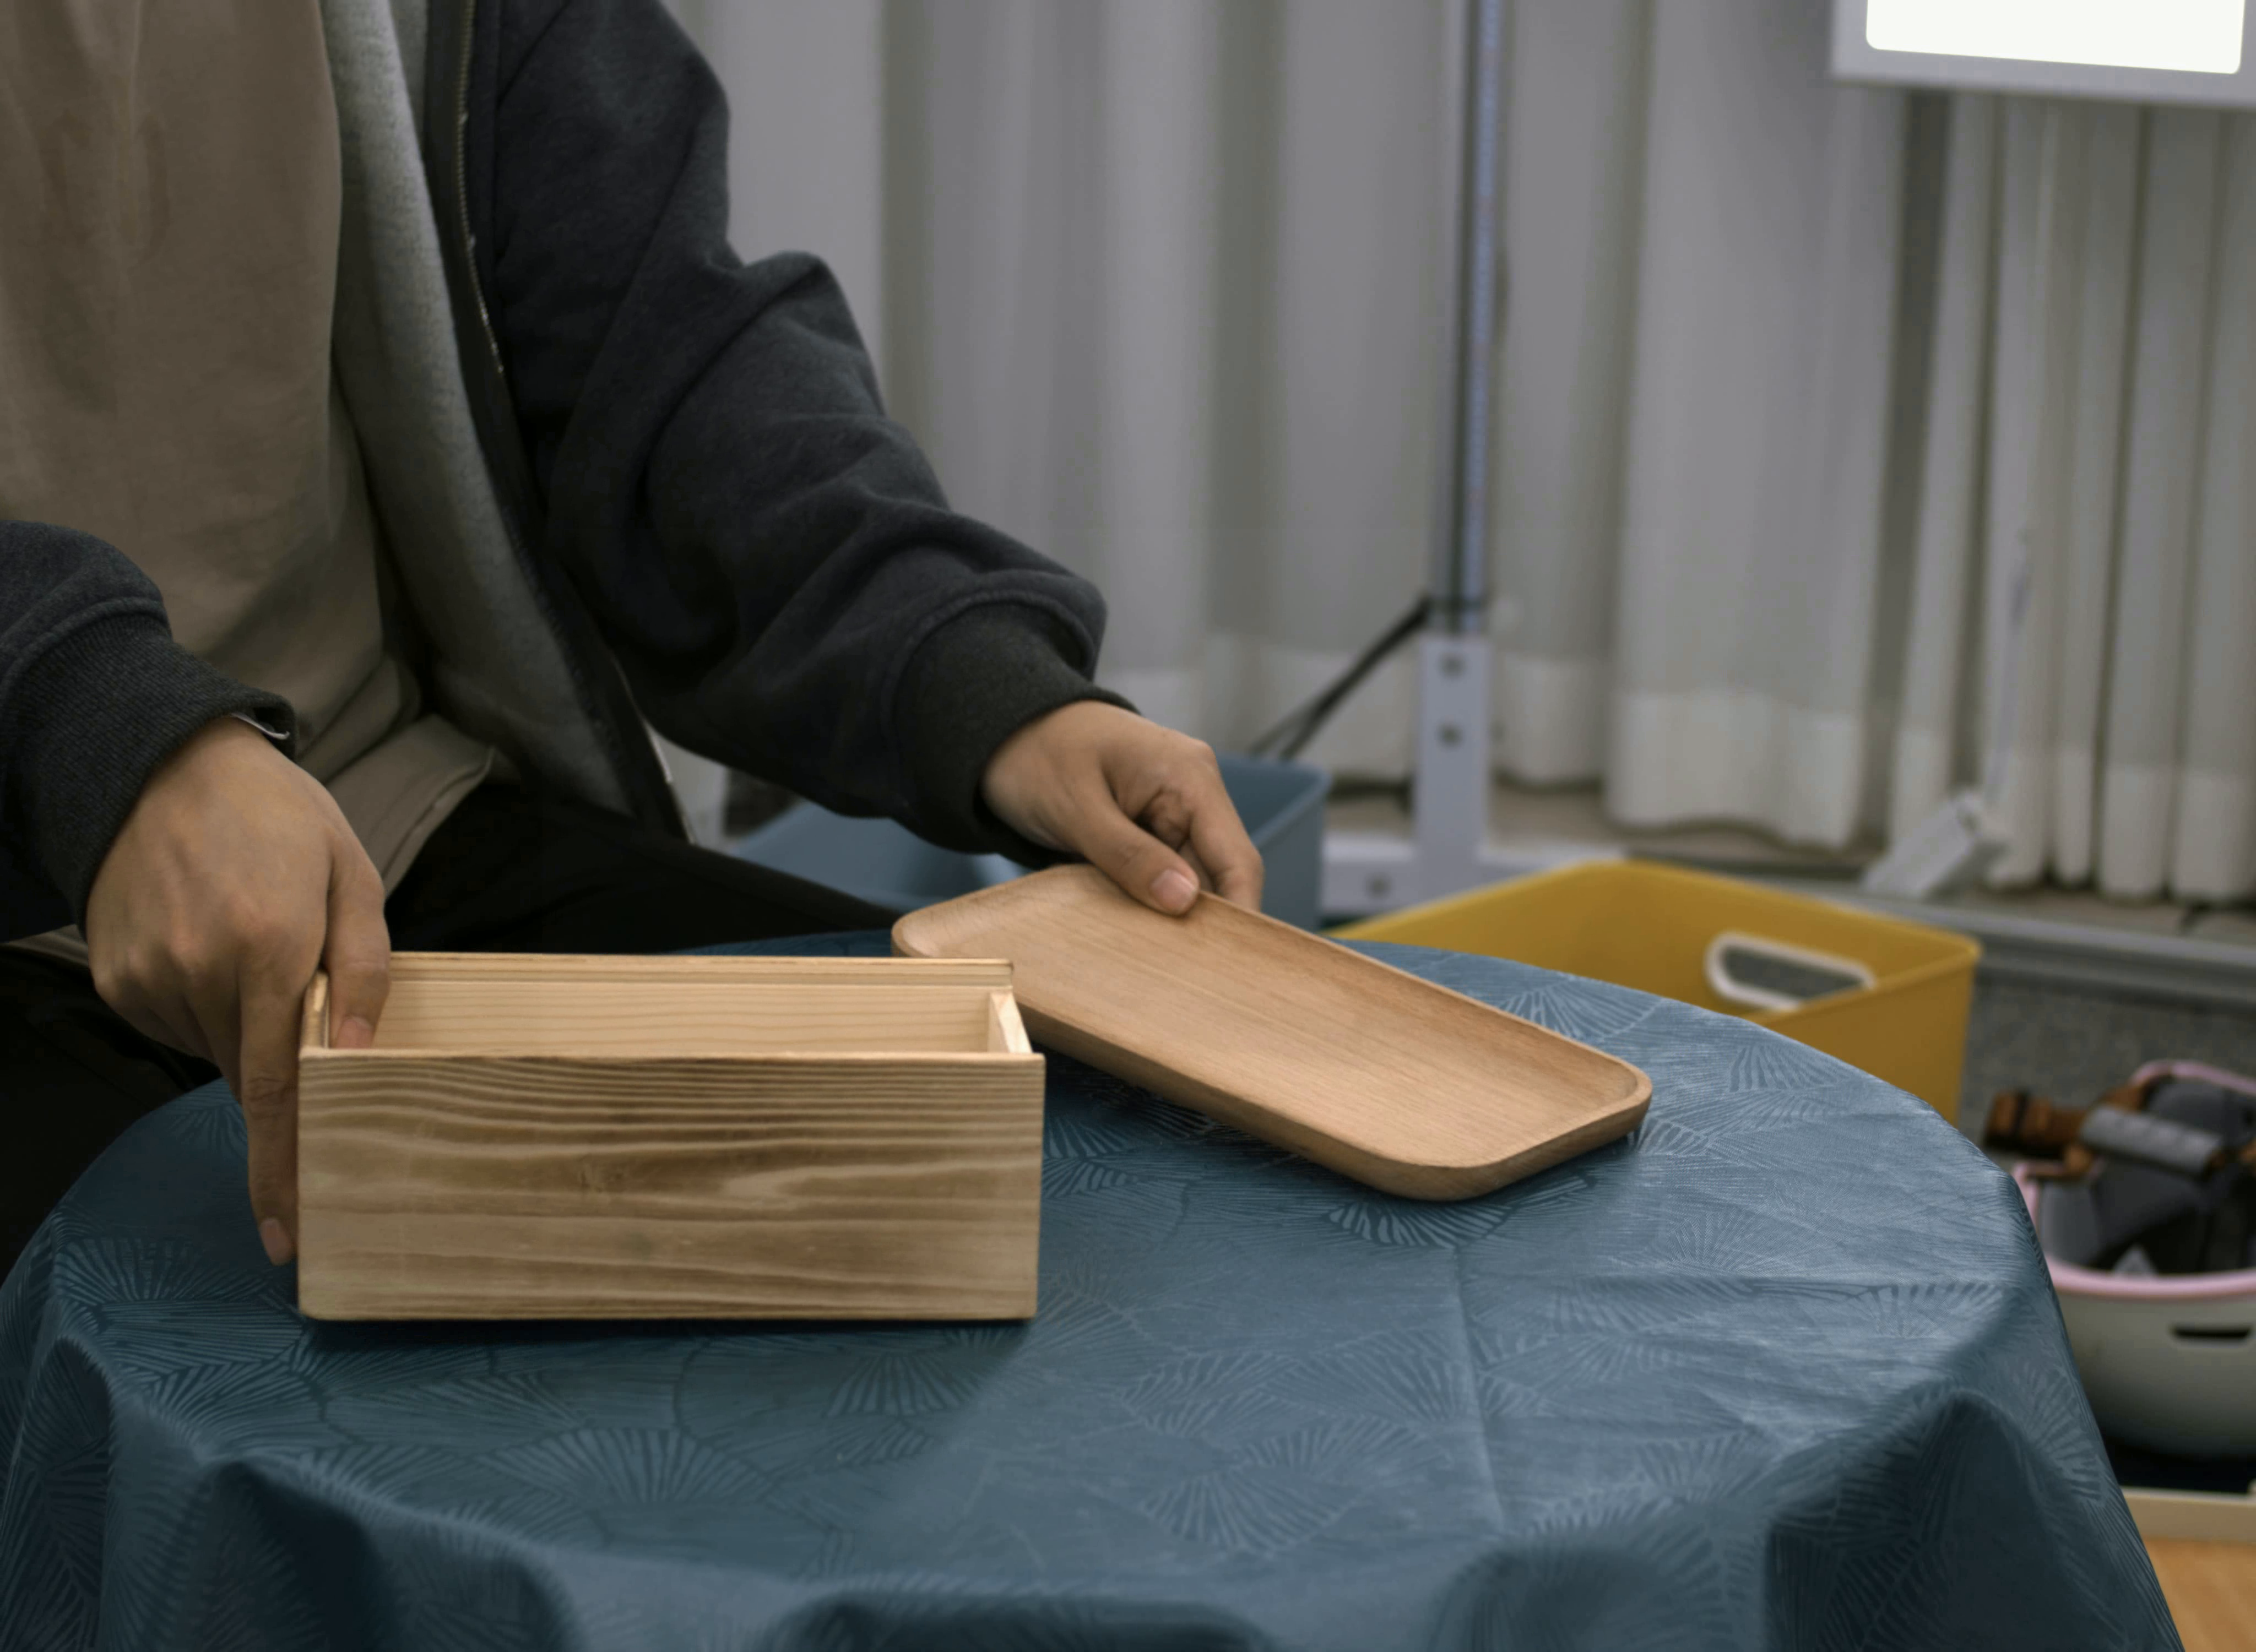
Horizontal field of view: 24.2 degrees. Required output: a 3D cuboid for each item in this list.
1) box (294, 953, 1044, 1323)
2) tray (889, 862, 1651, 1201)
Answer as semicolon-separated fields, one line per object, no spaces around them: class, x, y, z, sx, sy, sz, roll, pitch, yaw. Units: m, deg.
box;-0.134;0.090;1.533;0.211;0.081;0.107;1;15;-8
tray;0.043;0.064;1.712;0.247;0.023;0.131;21;22;37
